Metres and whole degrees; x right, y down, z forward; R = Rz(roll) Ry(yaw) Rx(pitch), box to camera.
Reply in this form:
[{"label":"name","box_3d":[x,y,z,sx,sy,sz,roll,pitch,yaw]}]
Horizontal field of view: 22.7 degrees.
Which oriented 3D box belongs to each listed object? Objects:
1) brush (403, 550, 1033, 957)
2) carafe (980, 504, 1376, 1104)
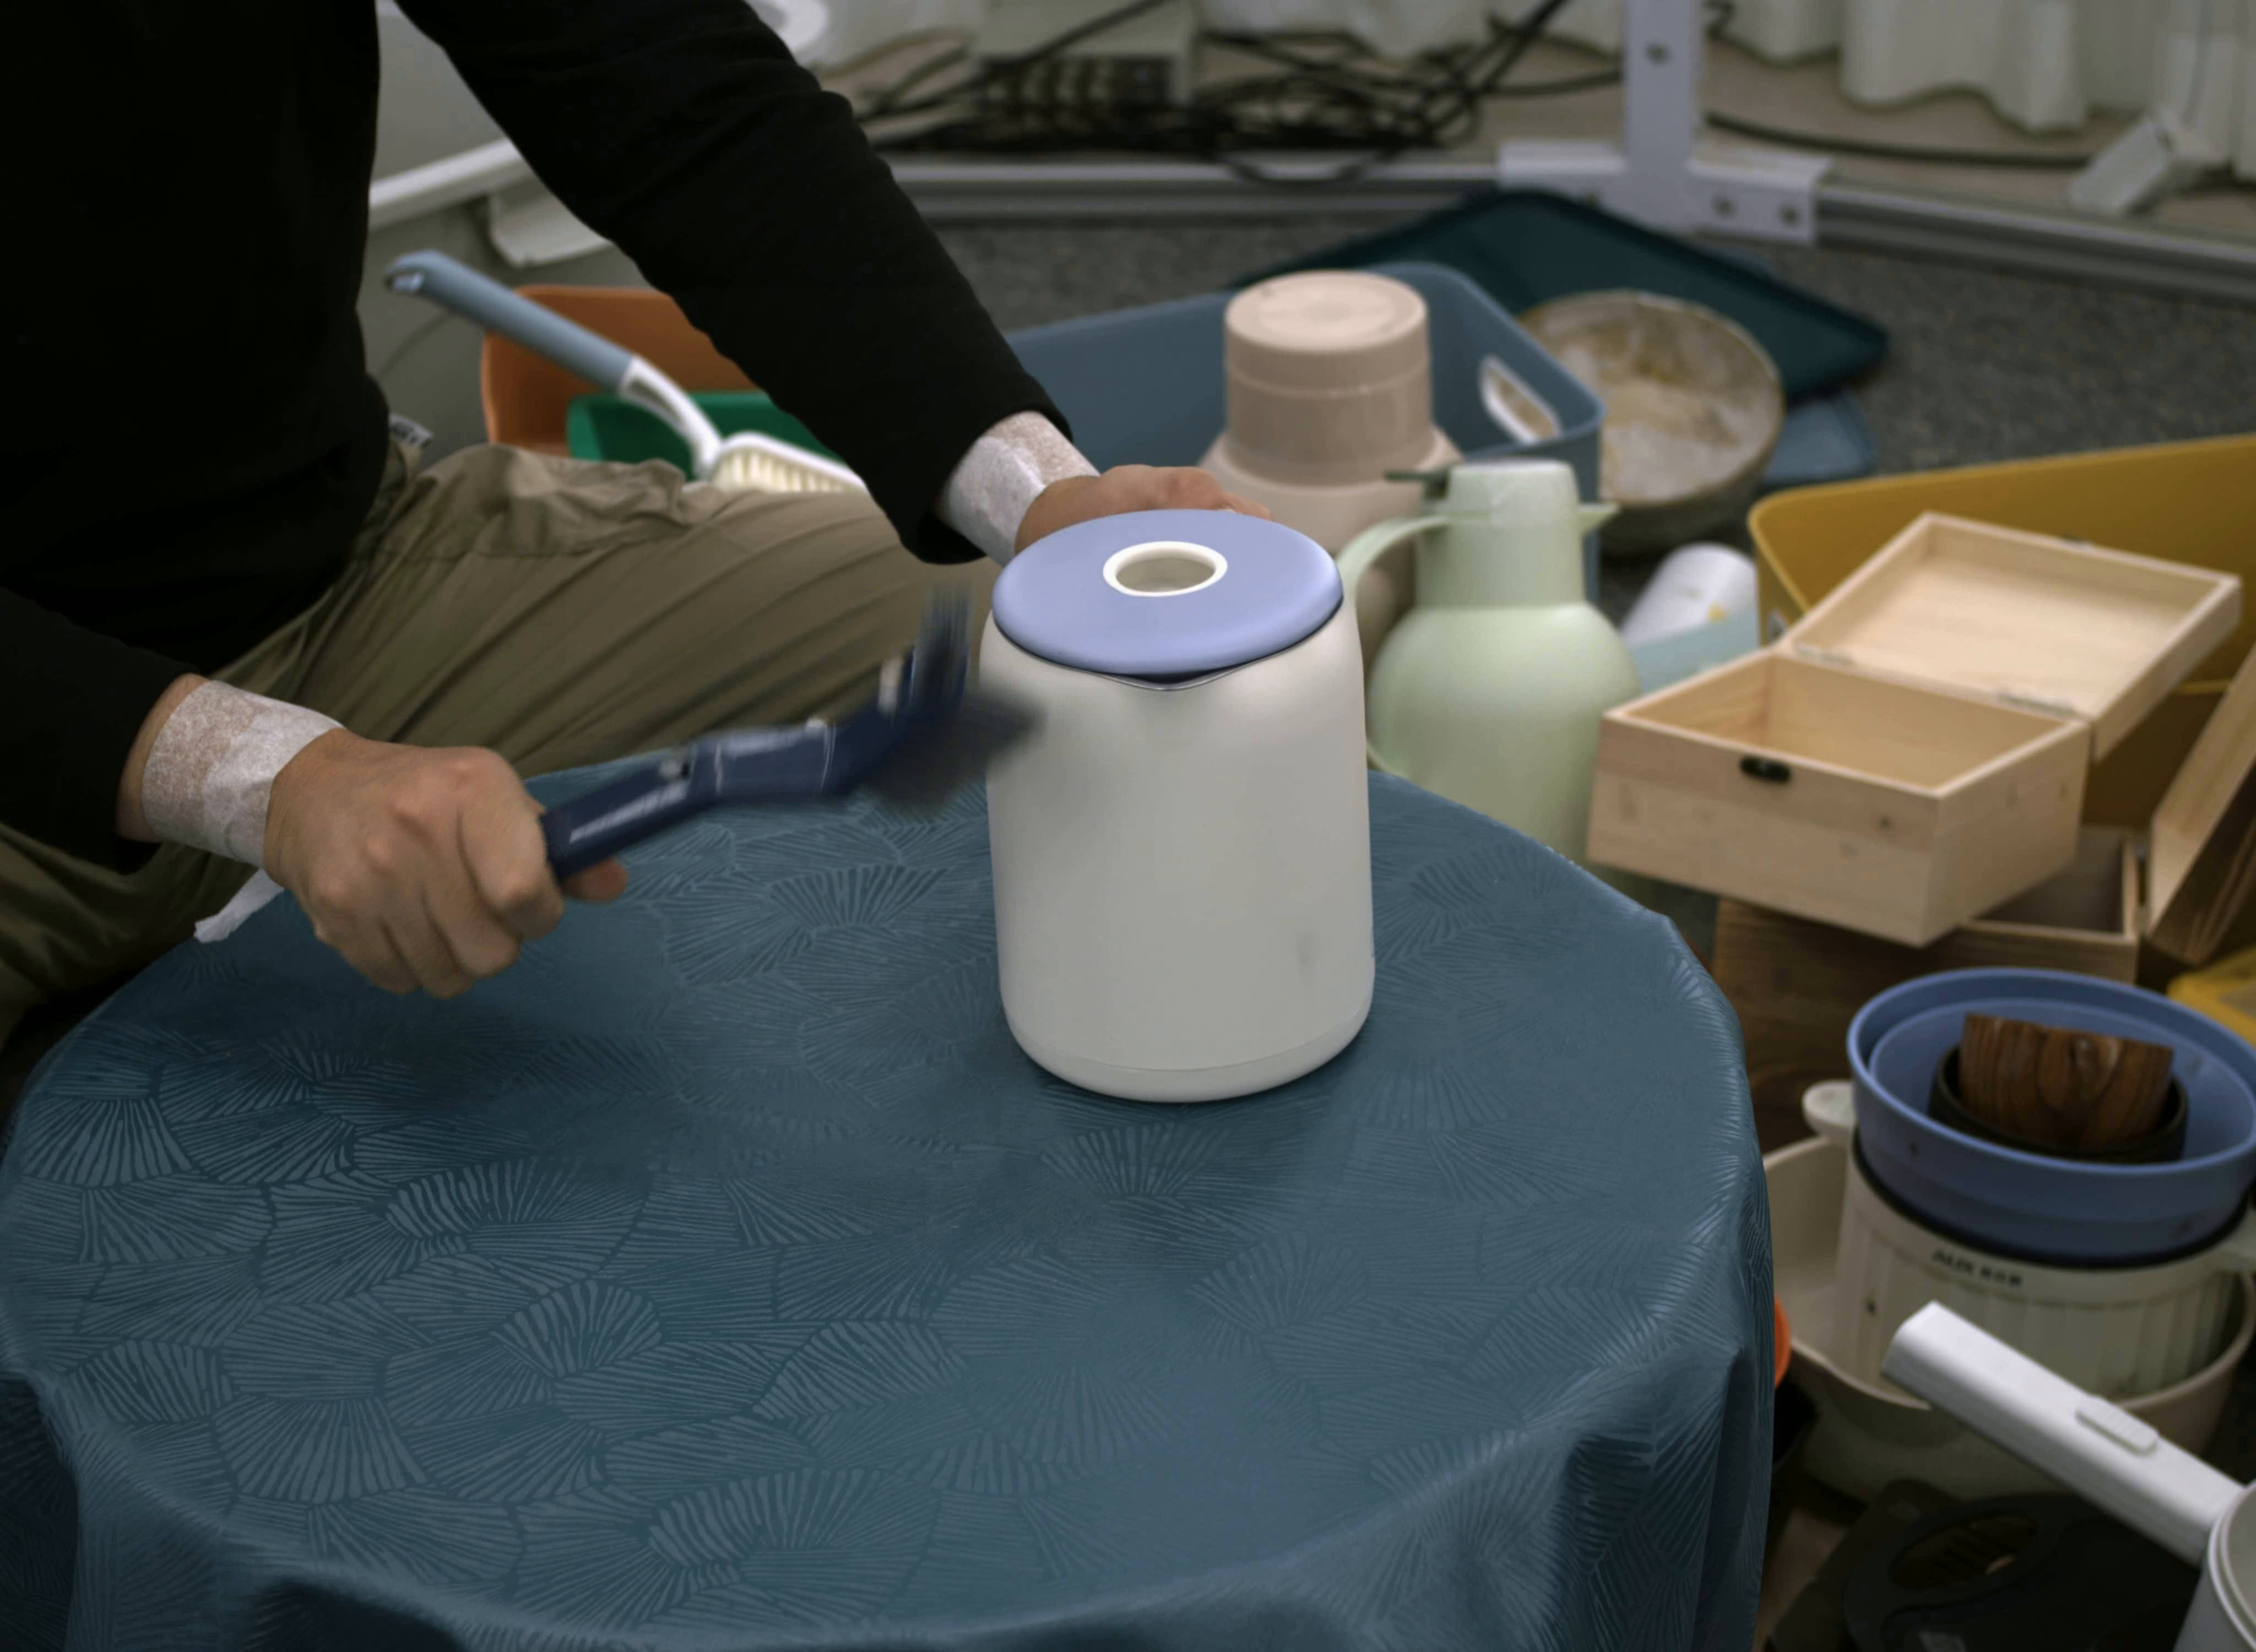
[{"label":"brush","box_3d":[-0.152,-0.022,1.869,0.270,0.095,0.034,-20,53,25]},{"label":"carafe","box_3d":[0.016,-0.019,1.947,0.131,0.180,0.194,-4,26,-1]}]
